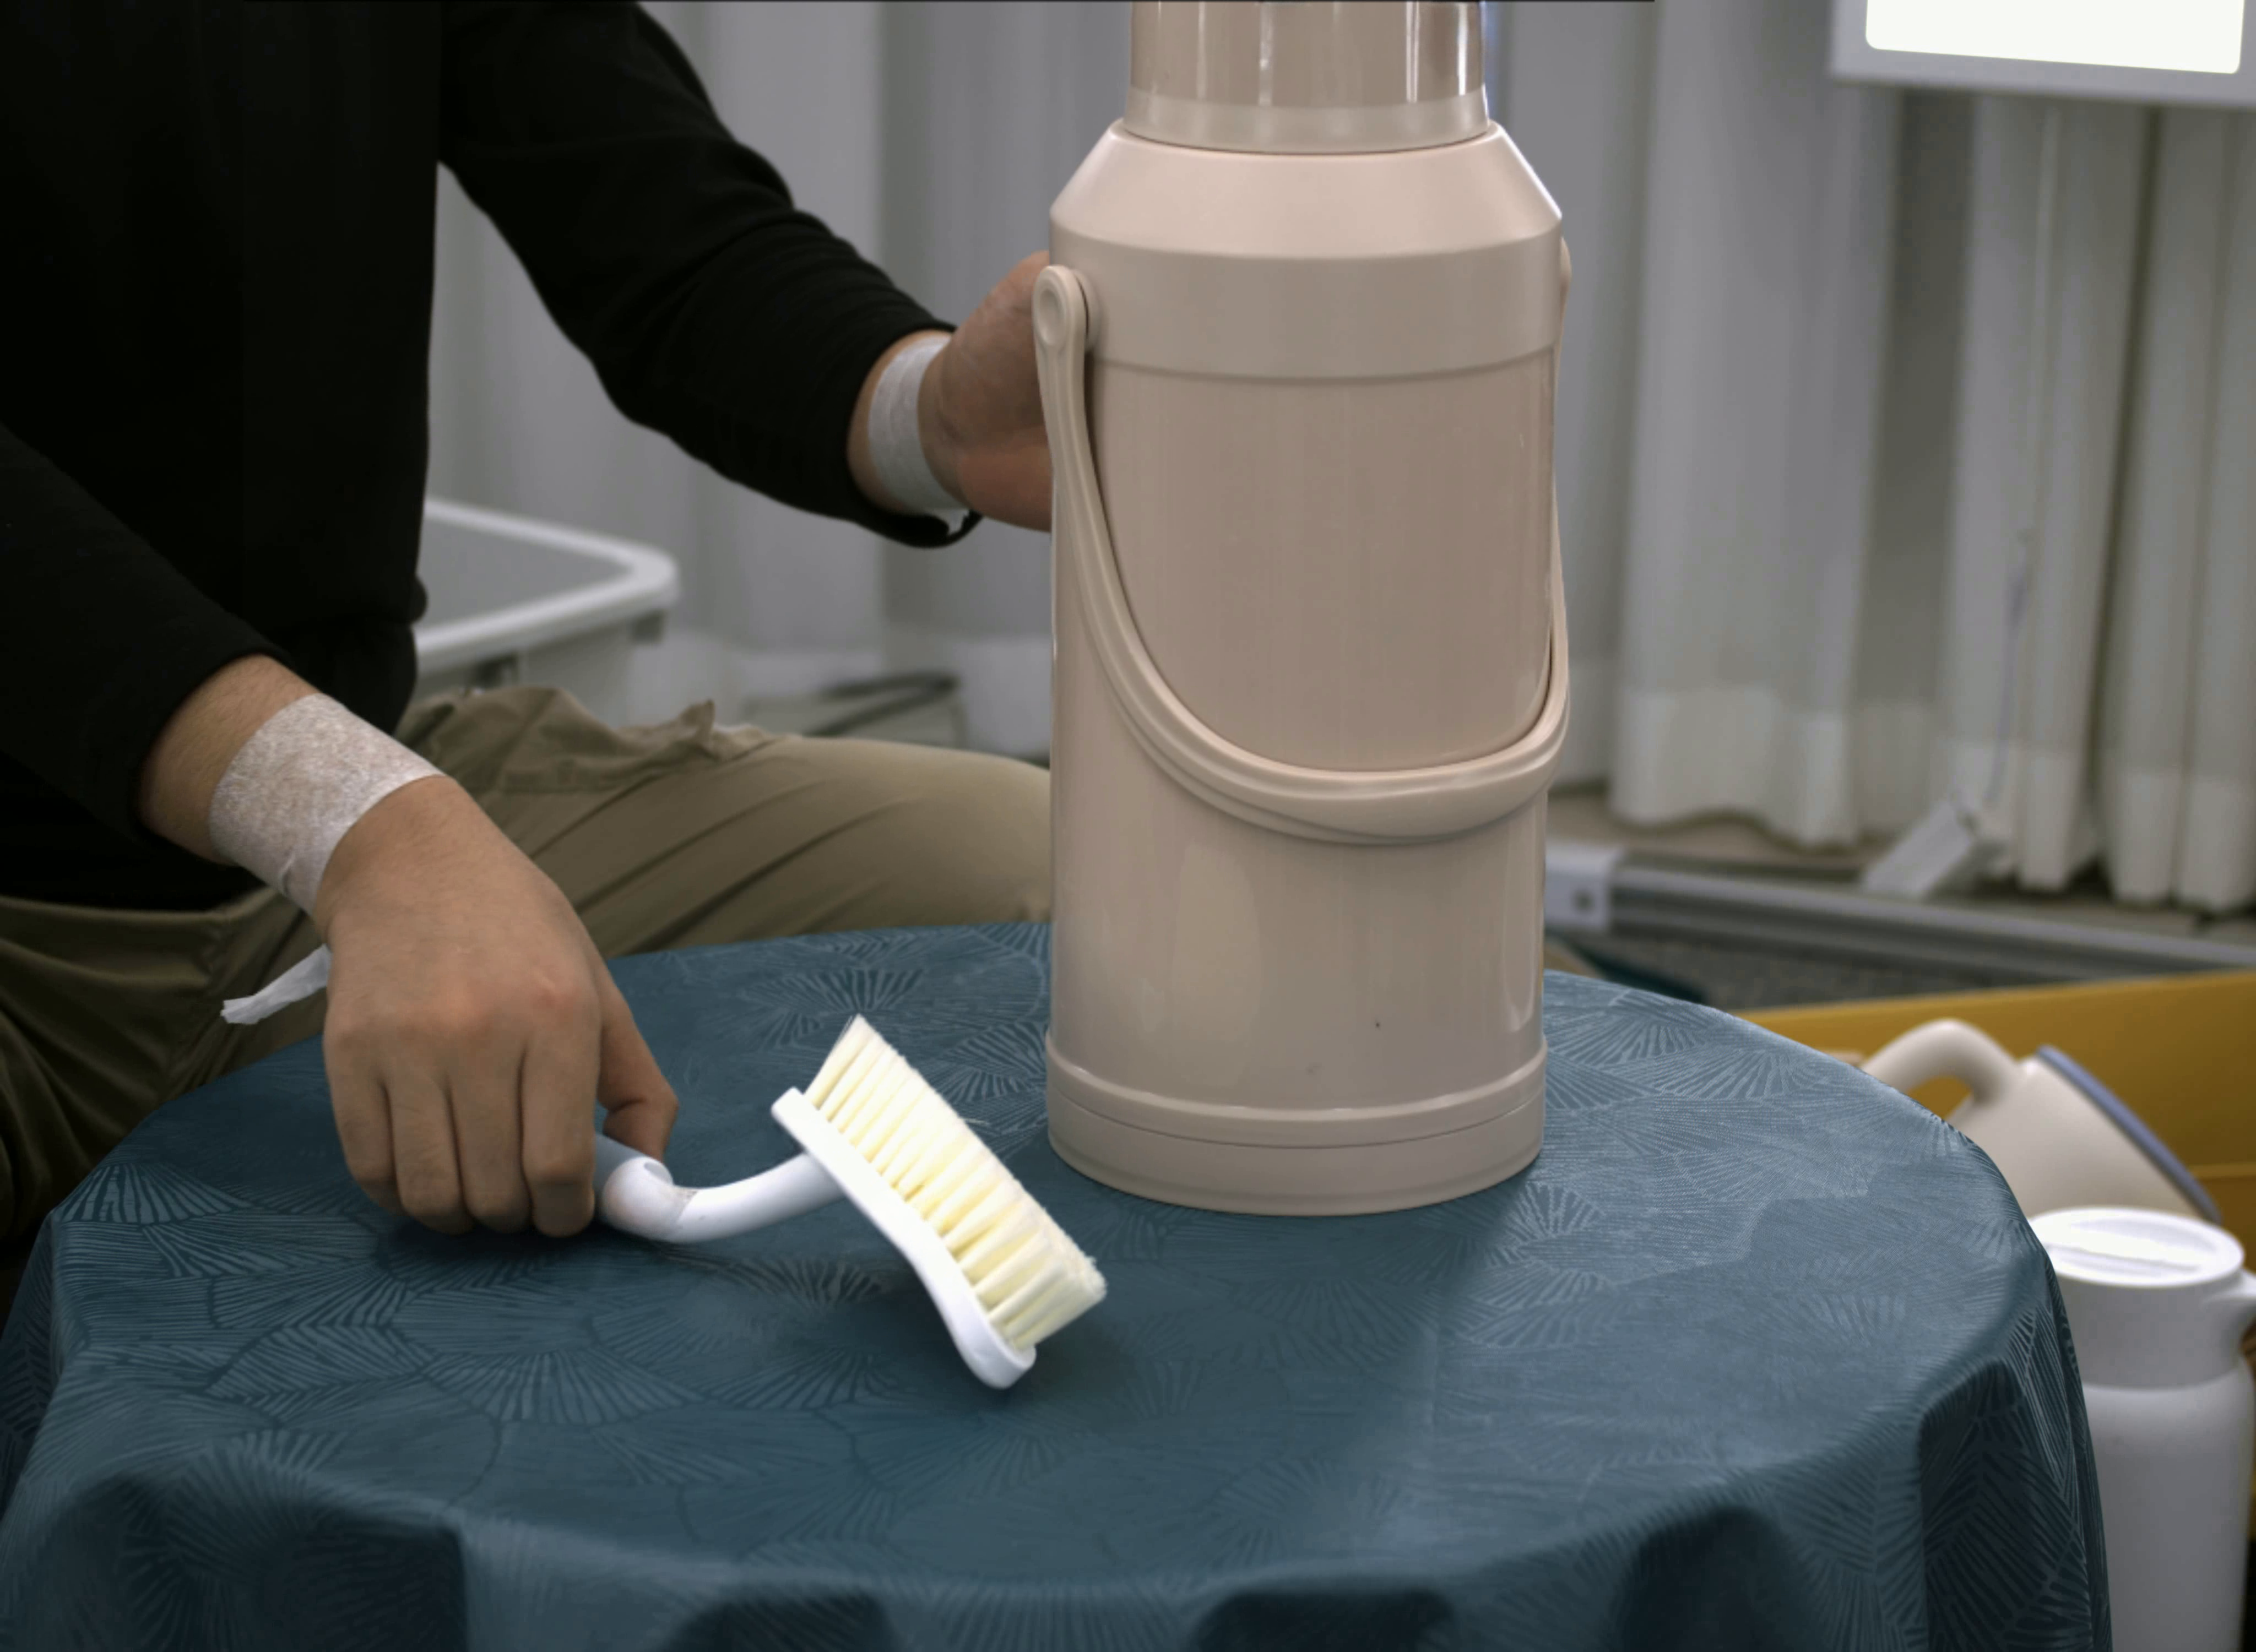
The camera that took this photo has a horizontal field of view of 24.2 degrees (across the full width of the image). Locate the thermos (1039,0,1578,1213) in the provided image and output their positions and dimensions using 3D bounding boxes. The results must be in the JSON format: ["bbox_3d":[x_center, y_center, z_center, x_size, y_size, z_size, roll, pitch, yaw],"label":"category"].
[{"bbox_3d":[0.050,-0.097,1.632,0.176,0.410,0.204,-10,19,-27],"label":"thermos"}]

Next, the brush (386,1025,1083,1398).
[{"bbox_3d":[-0.115,0.086,1.567,0.085,0.084,0.321,-13,21,-35],"label":"brush"}]
